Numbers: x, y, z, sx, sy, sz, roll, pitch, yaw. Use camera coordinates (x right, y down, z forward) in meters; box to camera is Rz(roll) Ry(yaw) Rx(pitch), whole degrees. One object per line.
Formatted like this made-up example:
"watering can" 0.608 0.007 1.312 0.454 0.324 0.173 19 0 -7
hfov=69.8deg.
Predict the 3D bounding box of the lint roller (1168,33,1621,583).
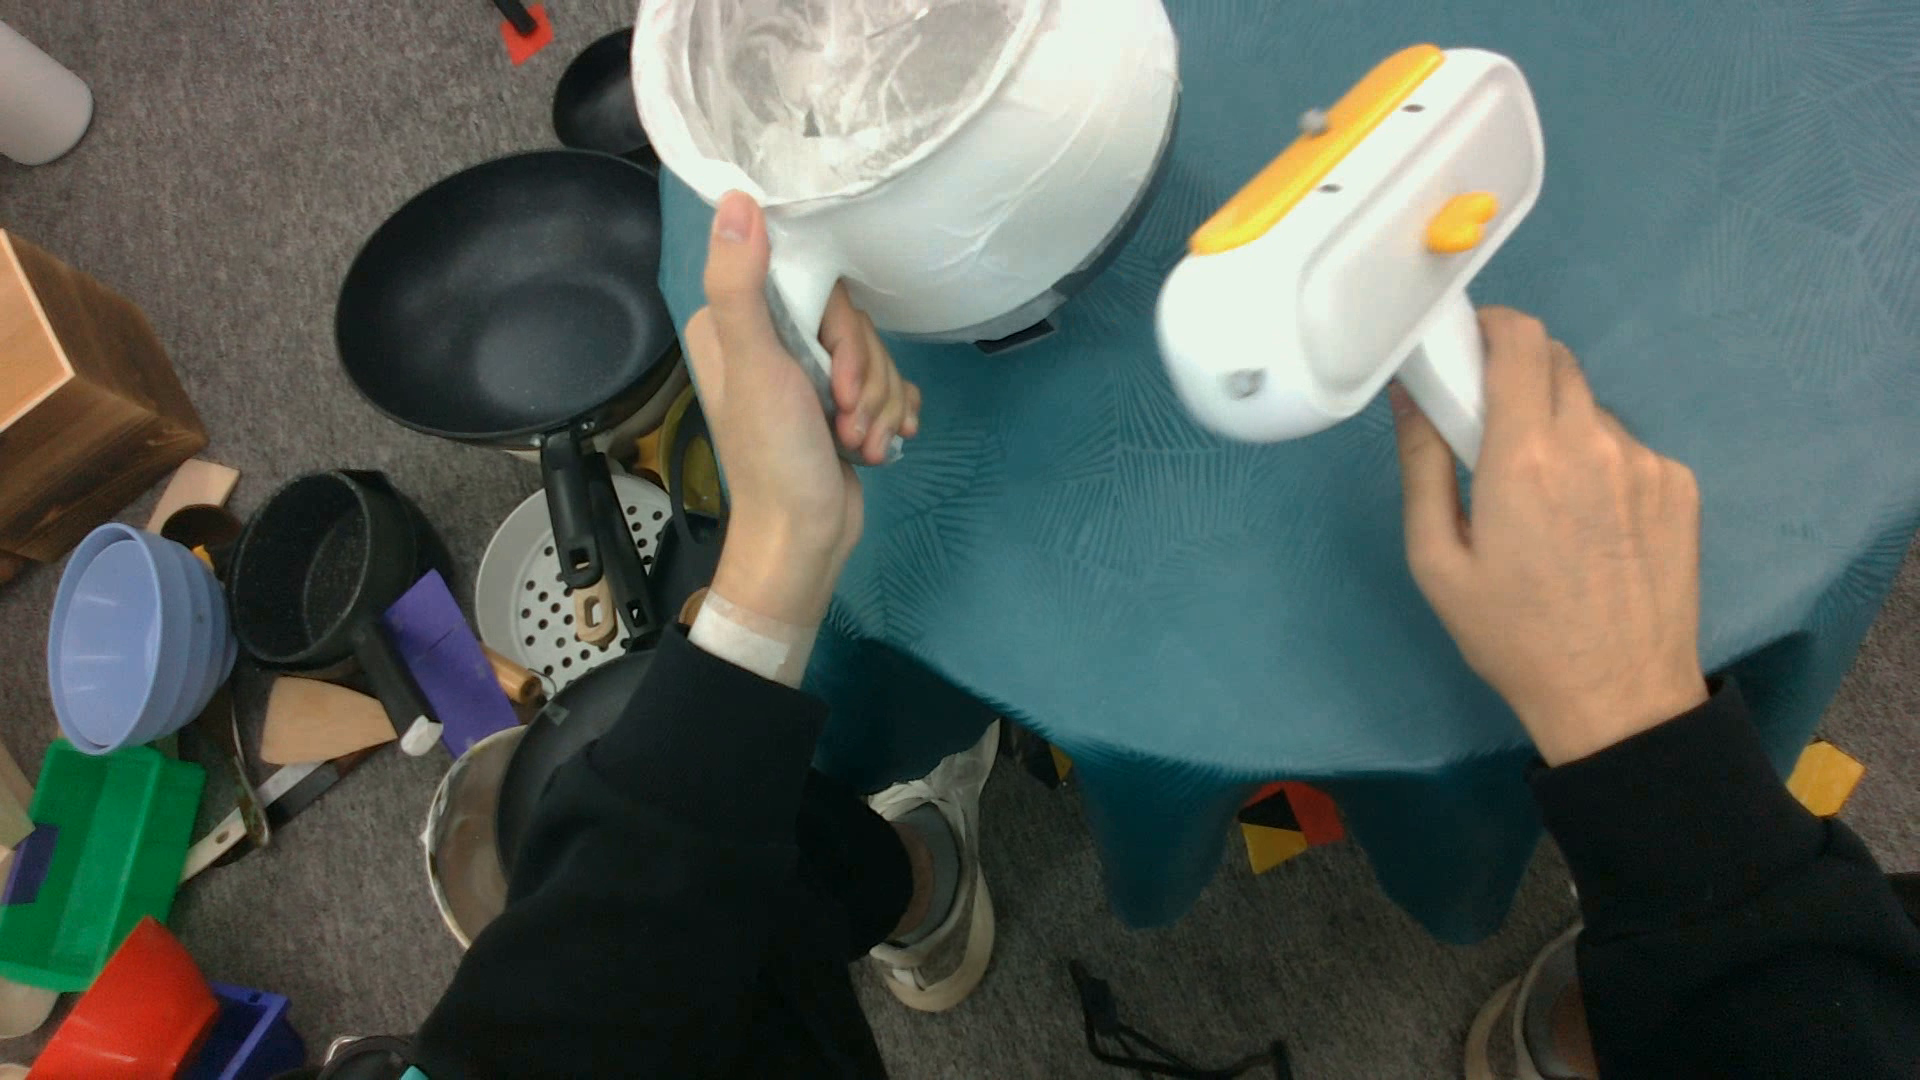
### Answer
"lint roller" 0.168 -0.061 0.478 0.074 0.192 0.194 -10 32 45

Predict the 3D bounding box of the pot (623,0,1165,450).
"pot" -0.027 -0.156 0.526 0.178 0.136 0.234 14 79 31
